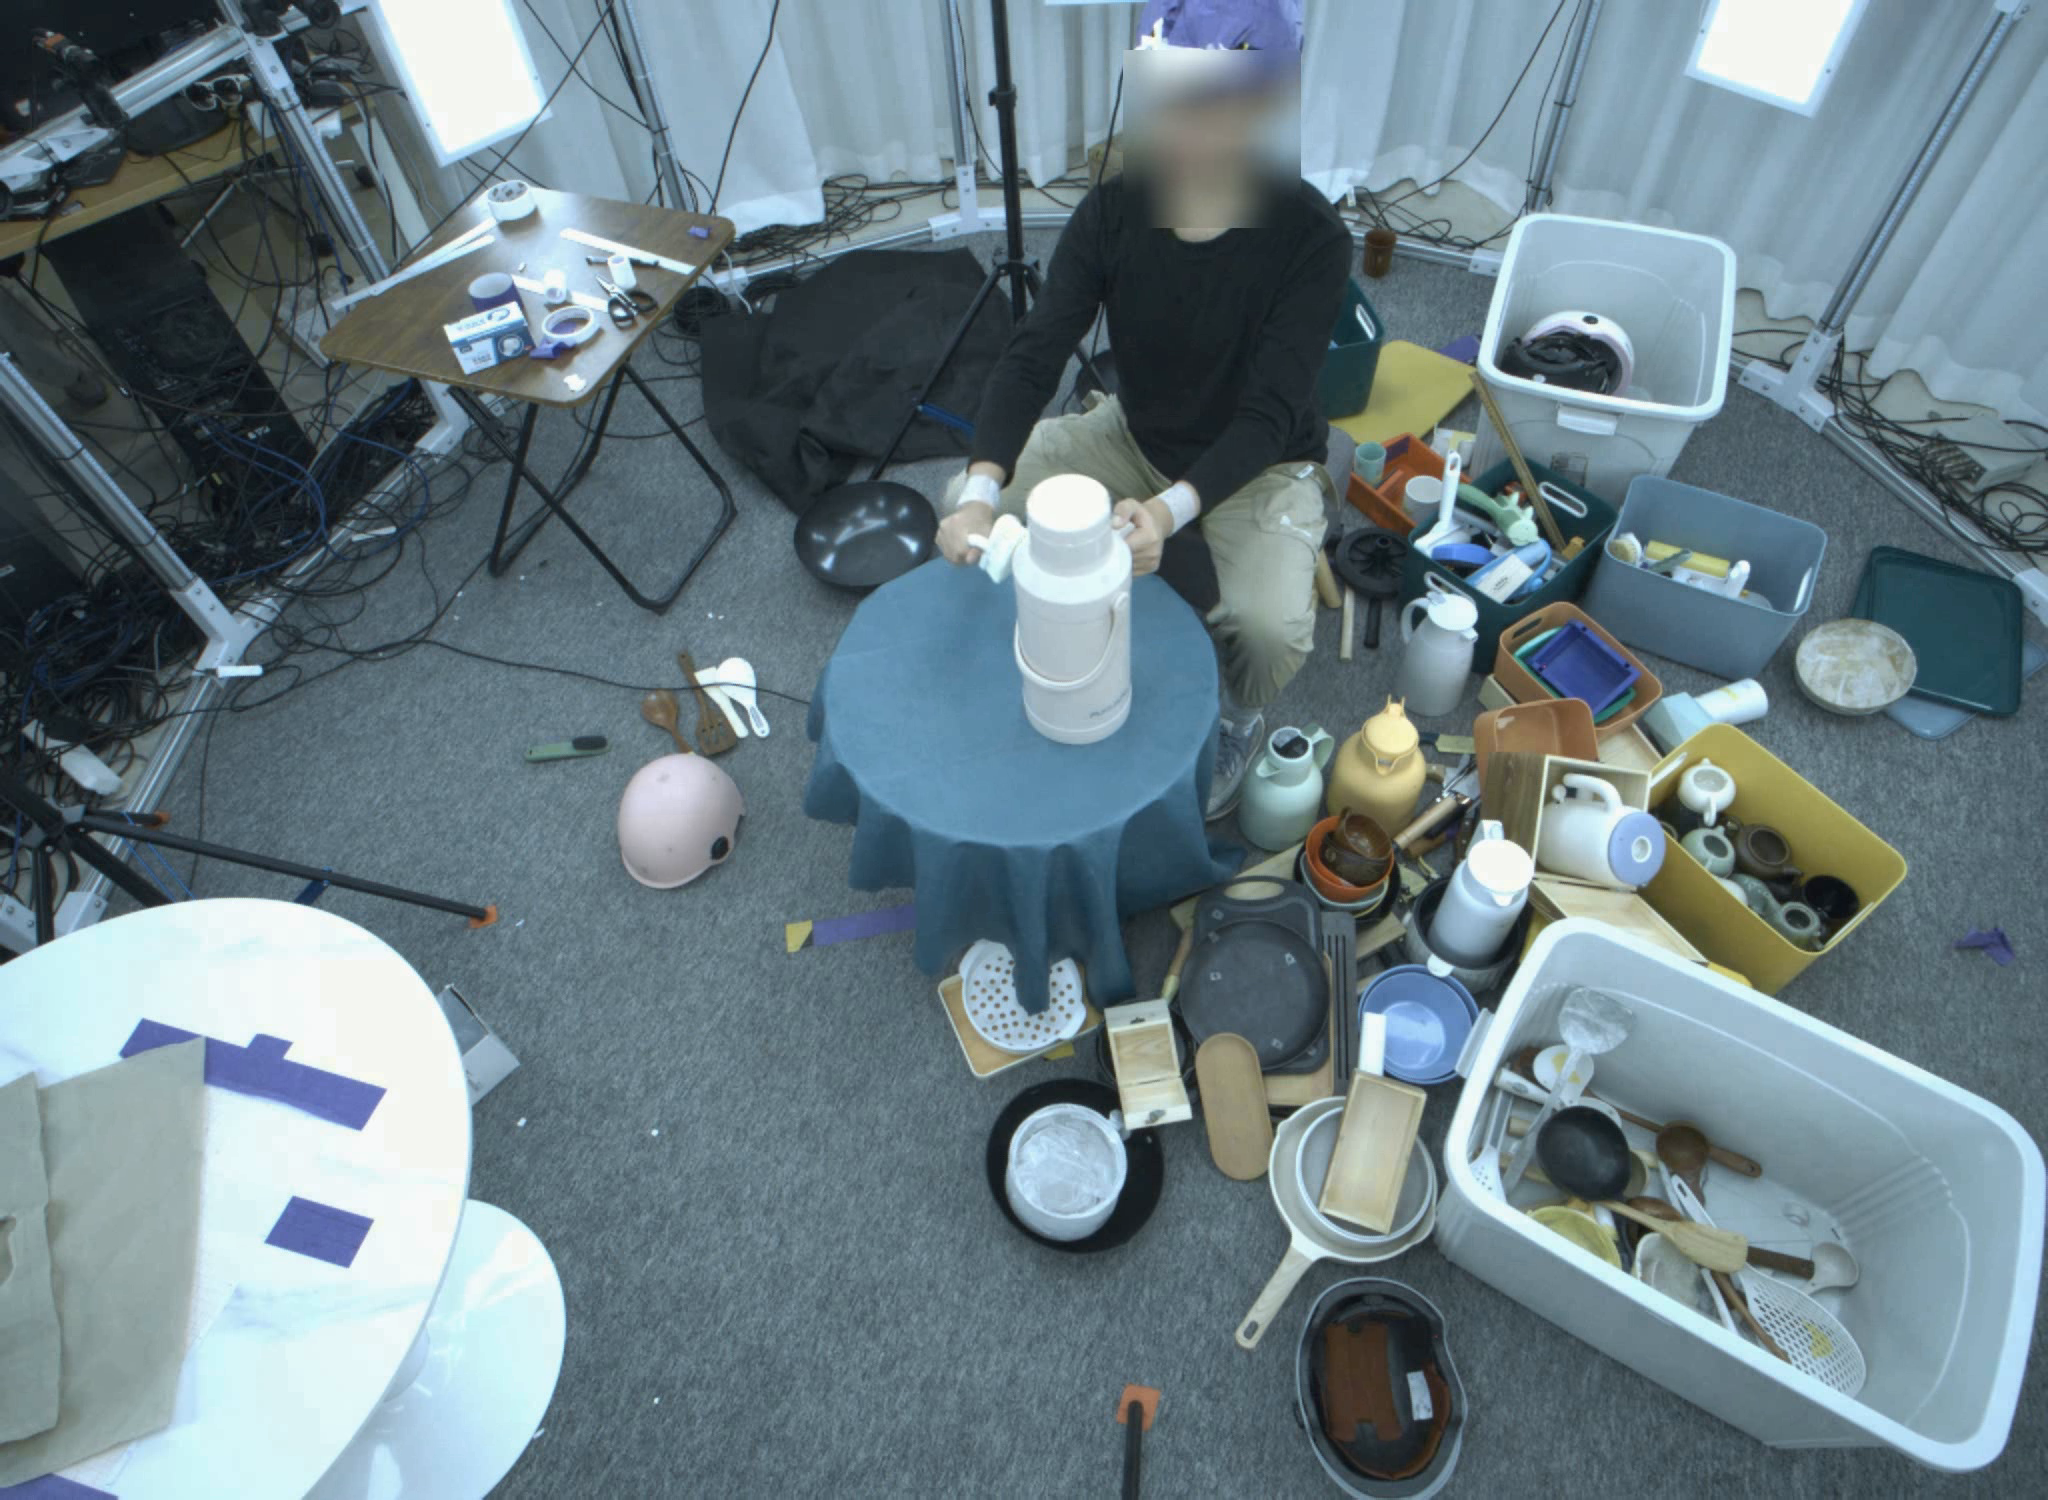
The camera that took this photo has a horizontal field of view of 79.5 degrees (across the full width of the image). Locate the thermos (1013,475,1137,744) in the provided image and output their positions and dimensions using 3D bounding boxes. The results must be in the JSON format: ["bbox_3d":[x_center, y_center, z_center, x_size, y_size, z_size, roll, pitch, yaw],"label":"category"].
[{"bbox_3d":[0.080,-0.195,1.679,0.172,0.411,0.208,33,63,26],"label":"thermos"}]

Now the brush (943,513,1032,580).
[{"bbox_3d":[-0.050,-0.279,1.779,0.084,0.321,0.084,-1,89,-15],"label":"brush"}]
